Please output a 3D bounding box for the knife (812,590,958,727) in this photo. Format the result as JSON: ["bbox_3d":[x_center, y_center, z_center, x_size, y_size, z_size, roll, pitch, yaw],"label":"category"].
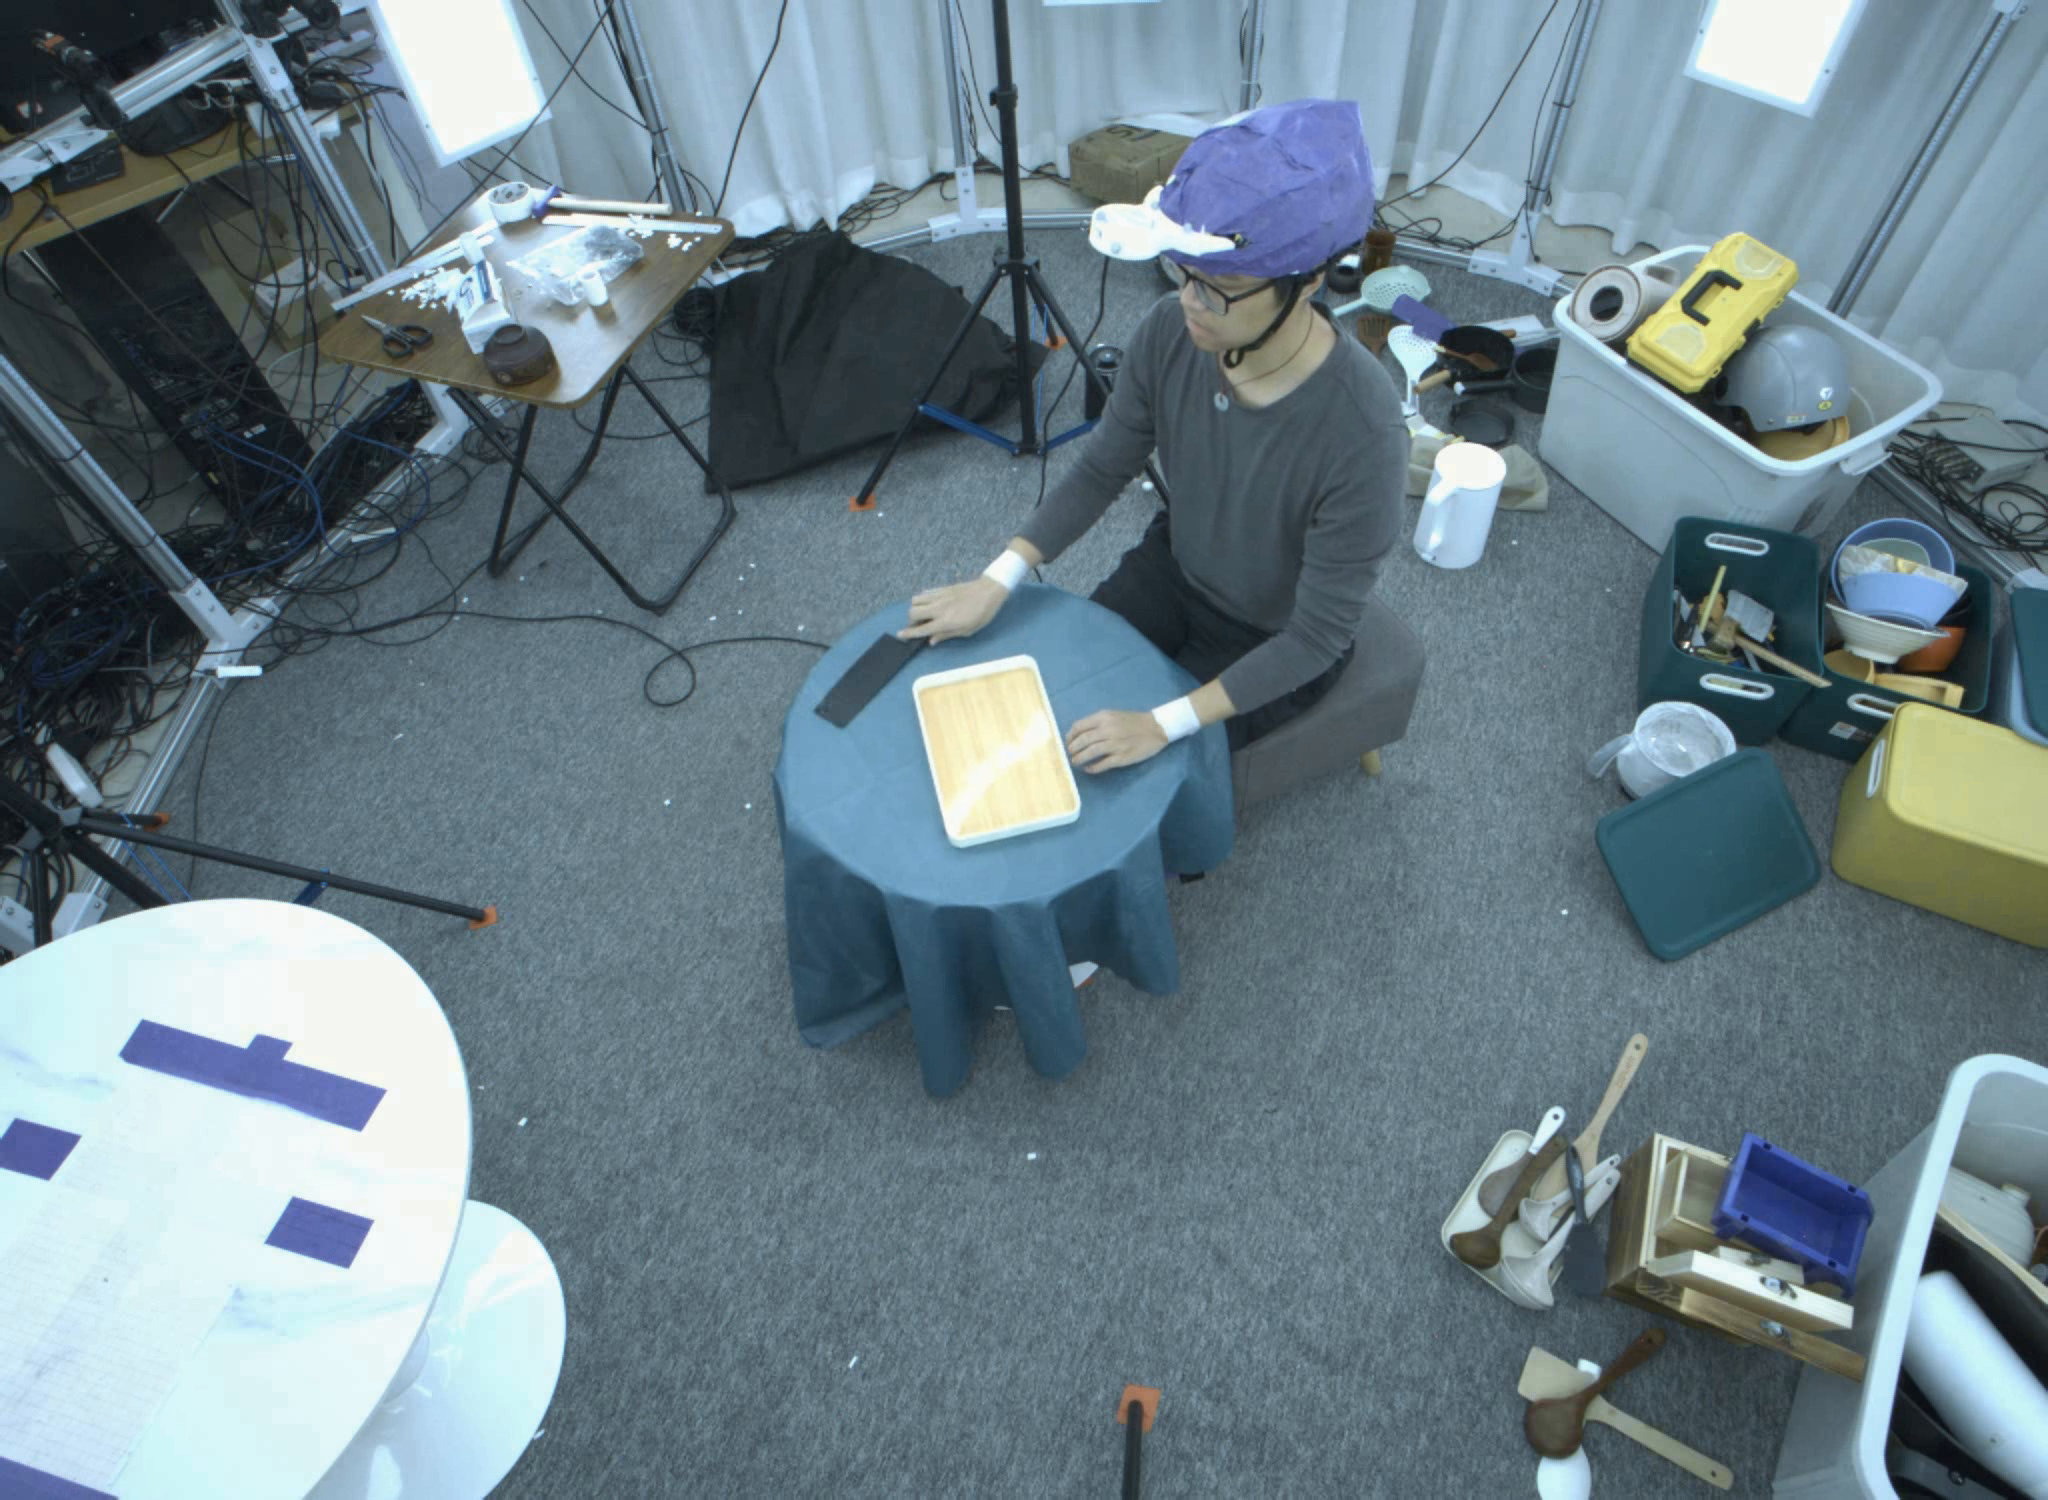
[{"bbox_3d":[-0.208,-0.149,1.896,0.080,0.021,0.304,36,64,17],"label":"knife"}]

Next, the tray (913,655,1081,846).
[{"bbox_3d":[-0.043,-0.005,1.783,0.192,0.028,0.295,-12,55,-7],"label":"tray"}]
